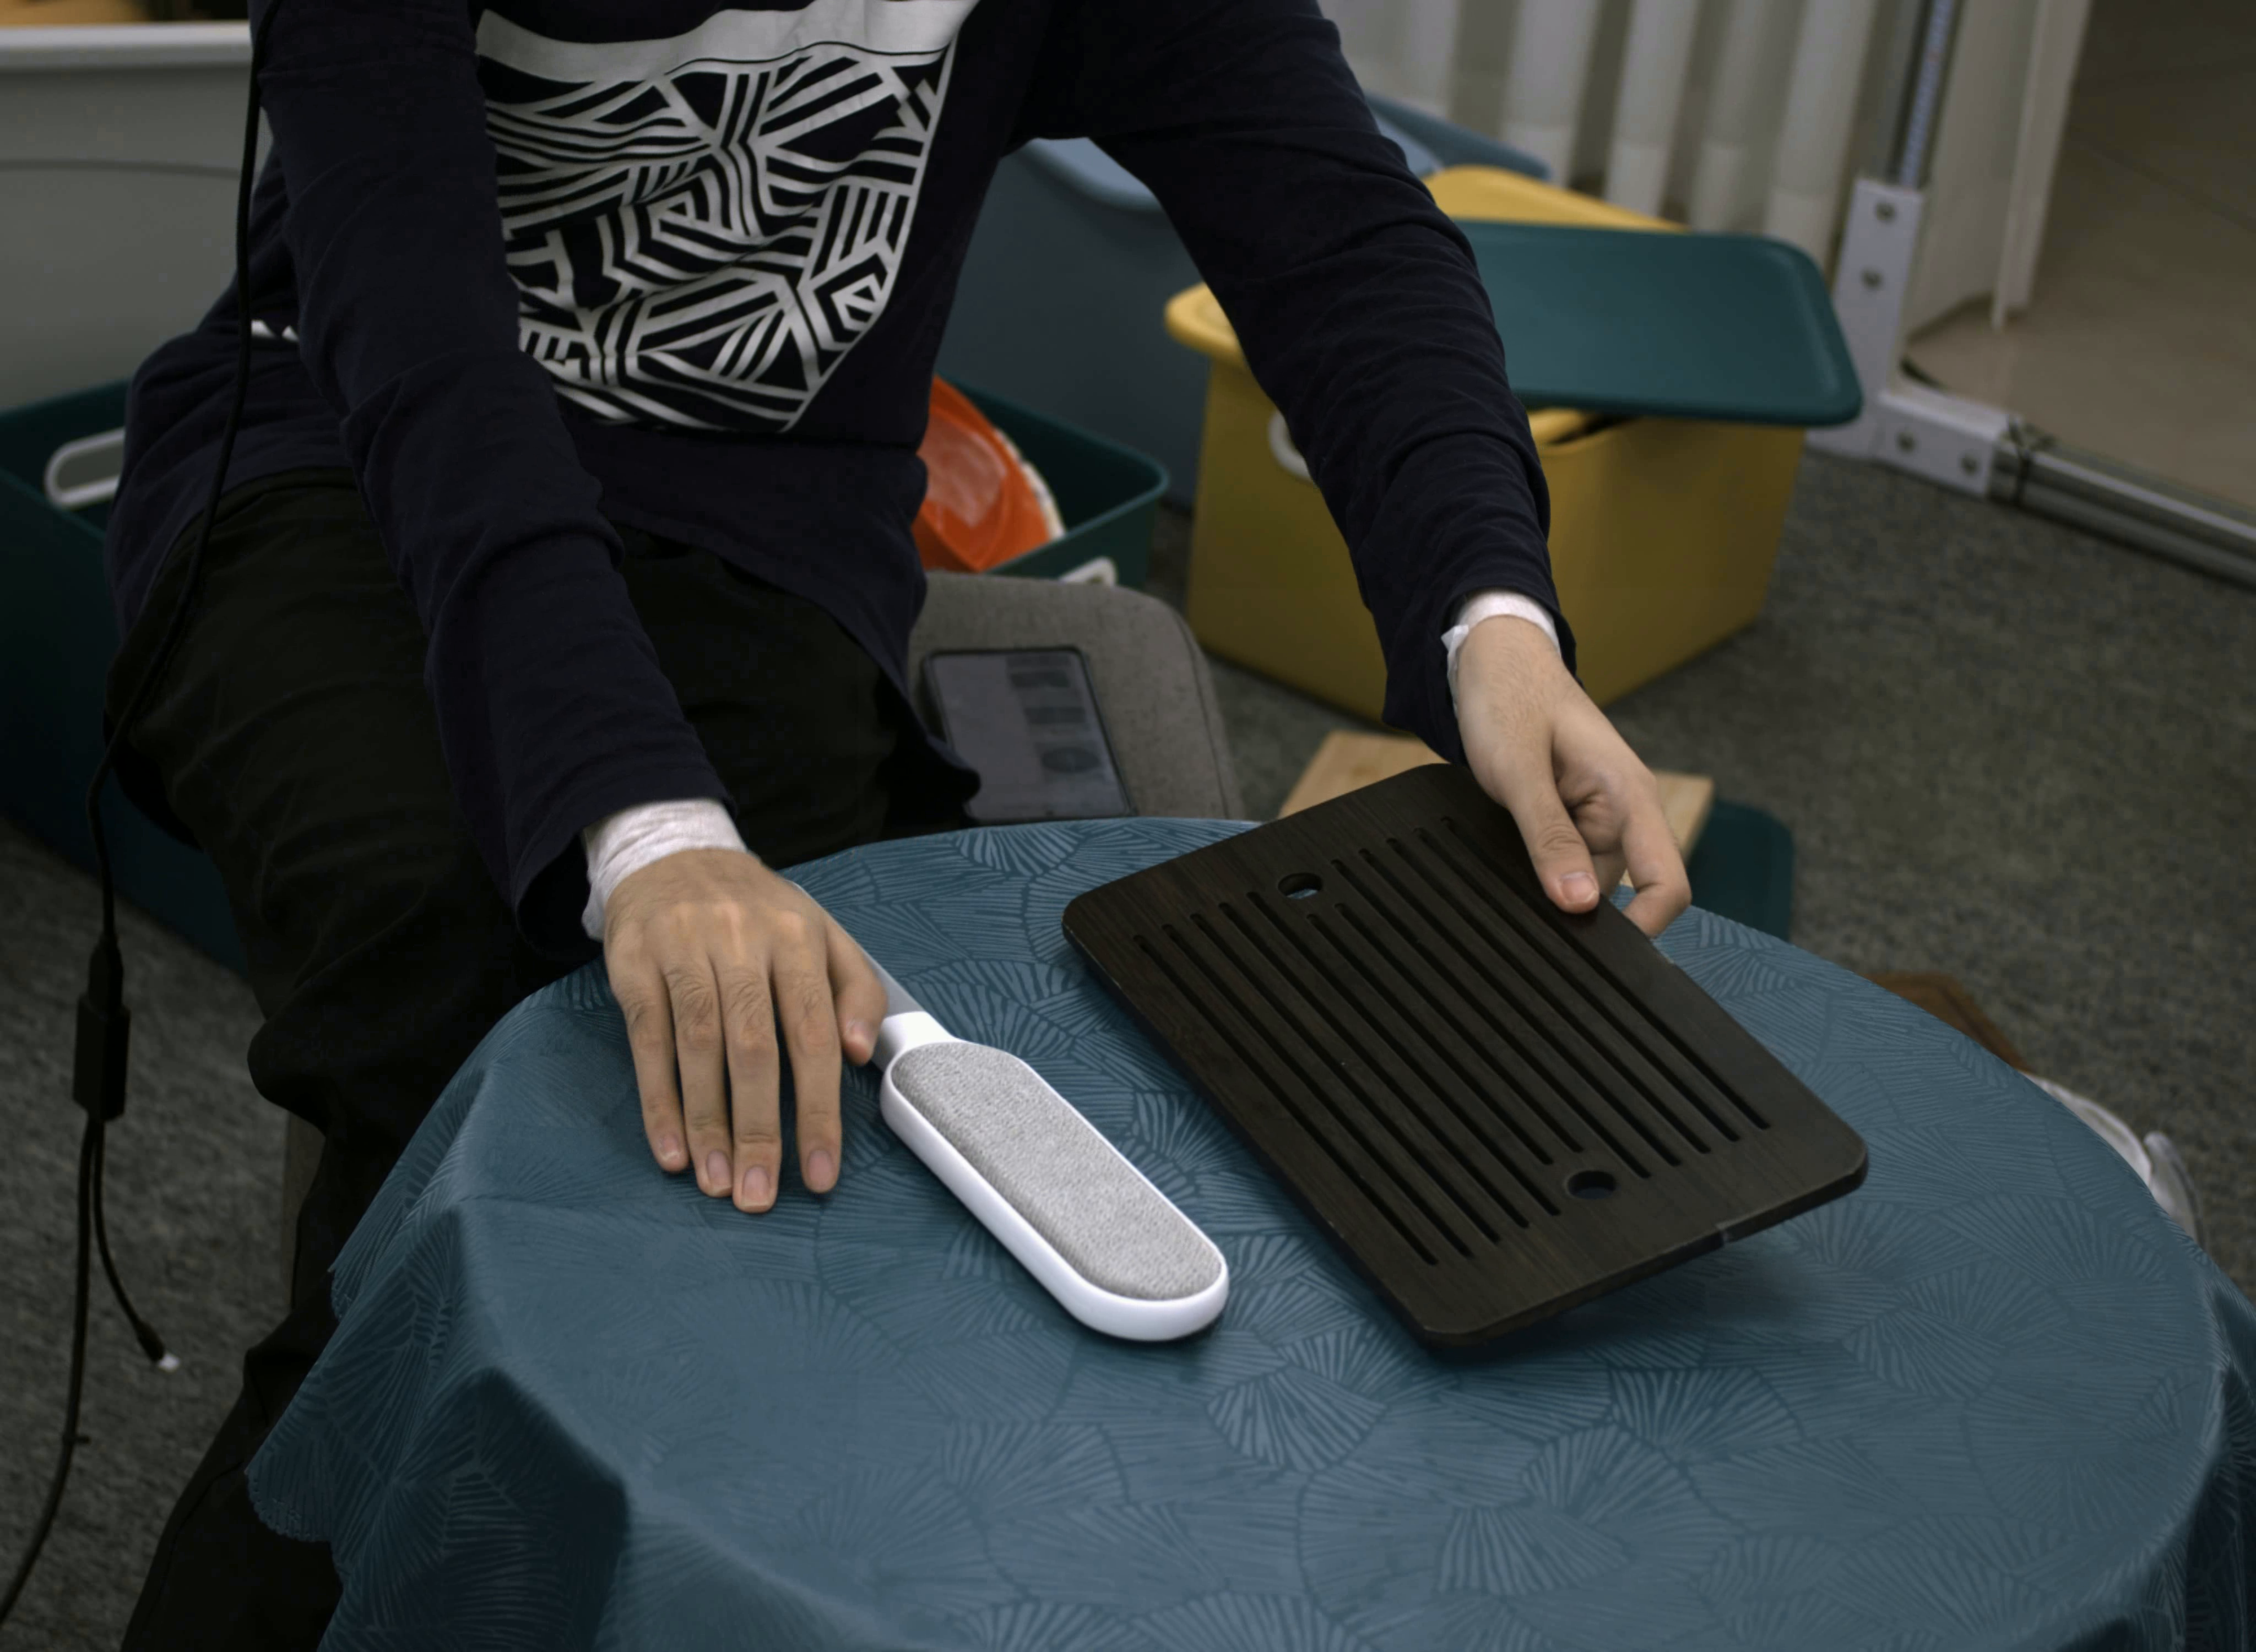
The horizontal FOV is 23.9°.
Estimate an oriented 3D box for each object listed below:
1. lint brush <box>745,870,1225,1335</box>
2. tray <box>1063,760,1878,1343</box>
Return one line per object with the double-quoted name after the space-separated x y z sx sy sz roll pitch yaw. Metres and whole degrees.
-0.056 0.090 1.830 0.060 0.021 0.312 -14 33 -25 "lint brush"
0.114 0.075 1.863 0.169 0.018 0.309 -21 35 -17 "tray"
